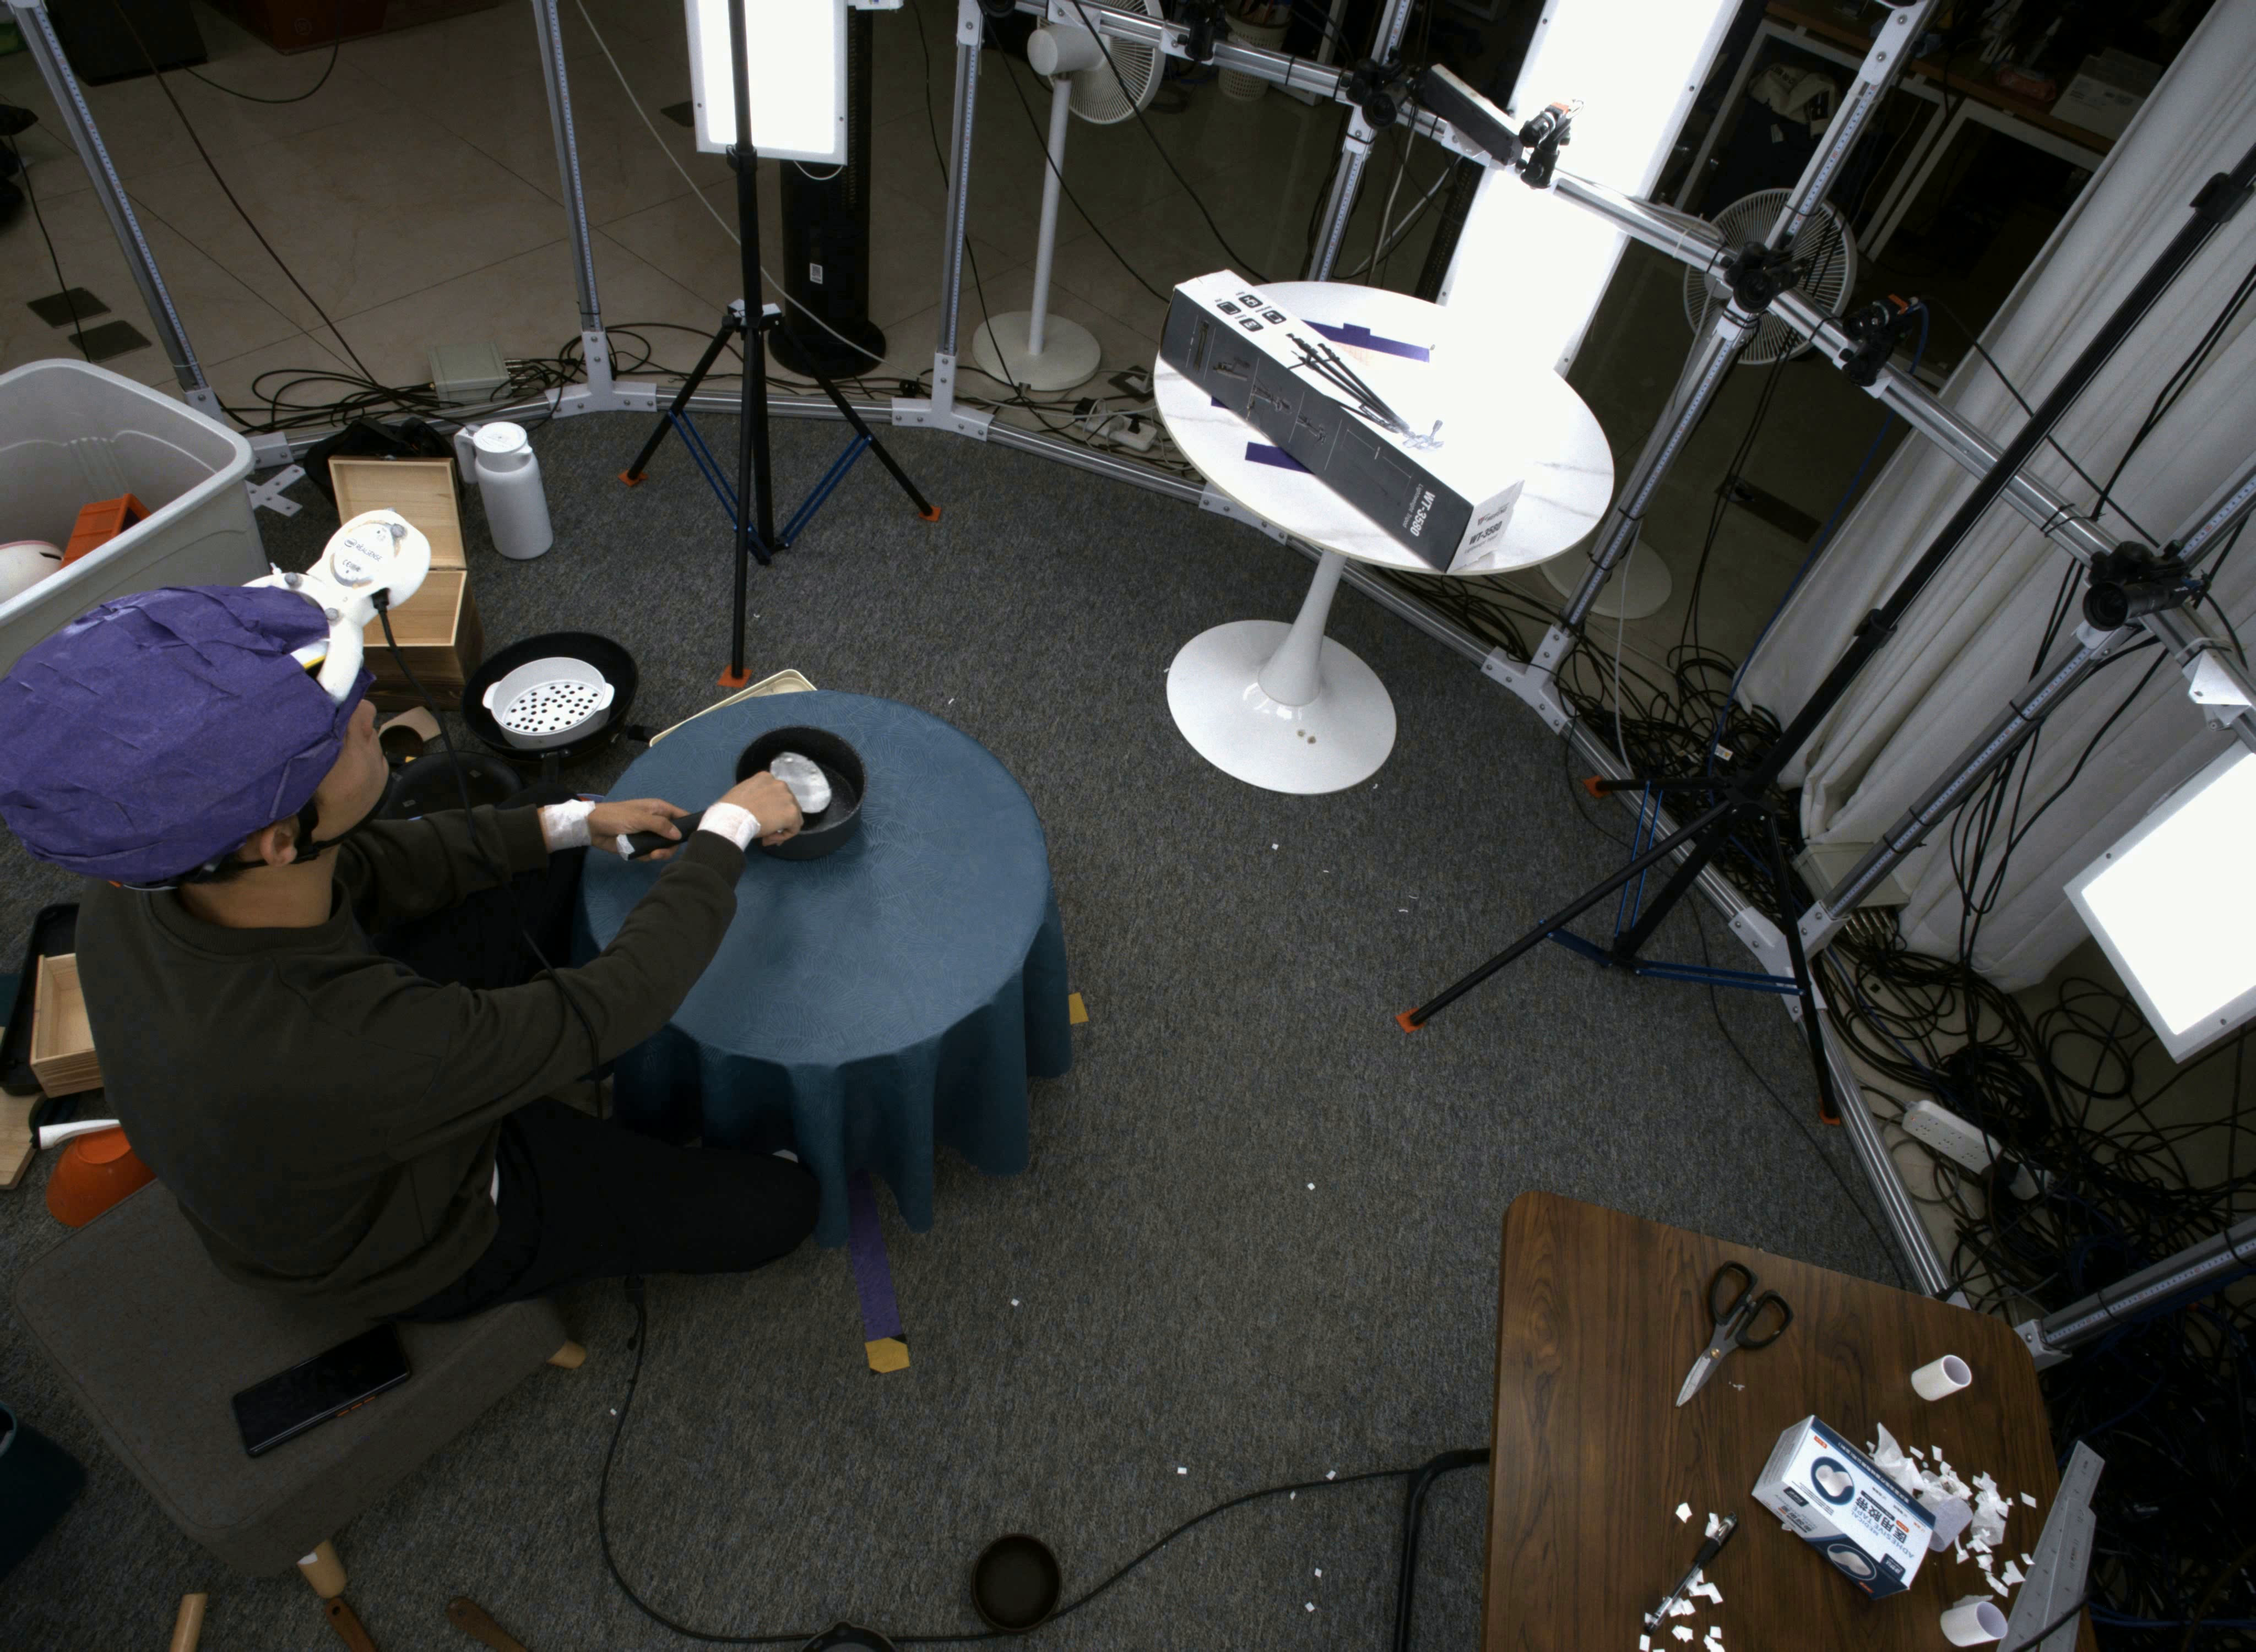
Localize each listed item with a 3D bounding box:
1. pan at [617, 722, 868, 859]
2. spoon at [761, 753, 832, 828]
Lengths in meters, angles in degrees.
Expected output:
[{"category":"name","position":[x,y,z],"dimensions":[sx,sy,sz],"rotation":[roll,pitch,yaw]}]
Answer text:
[{"category":"pan","position":[-0.495,-0.019,1.667],"dimensions":[0.330,0.088,0.168],"rotation":[-22,67,-30]},{"category":"spoon","position":[-0.425,-0.046,1.627],"dimensions":[0.102,0.272,0.059],"rotation":[41,90,-12]}]
